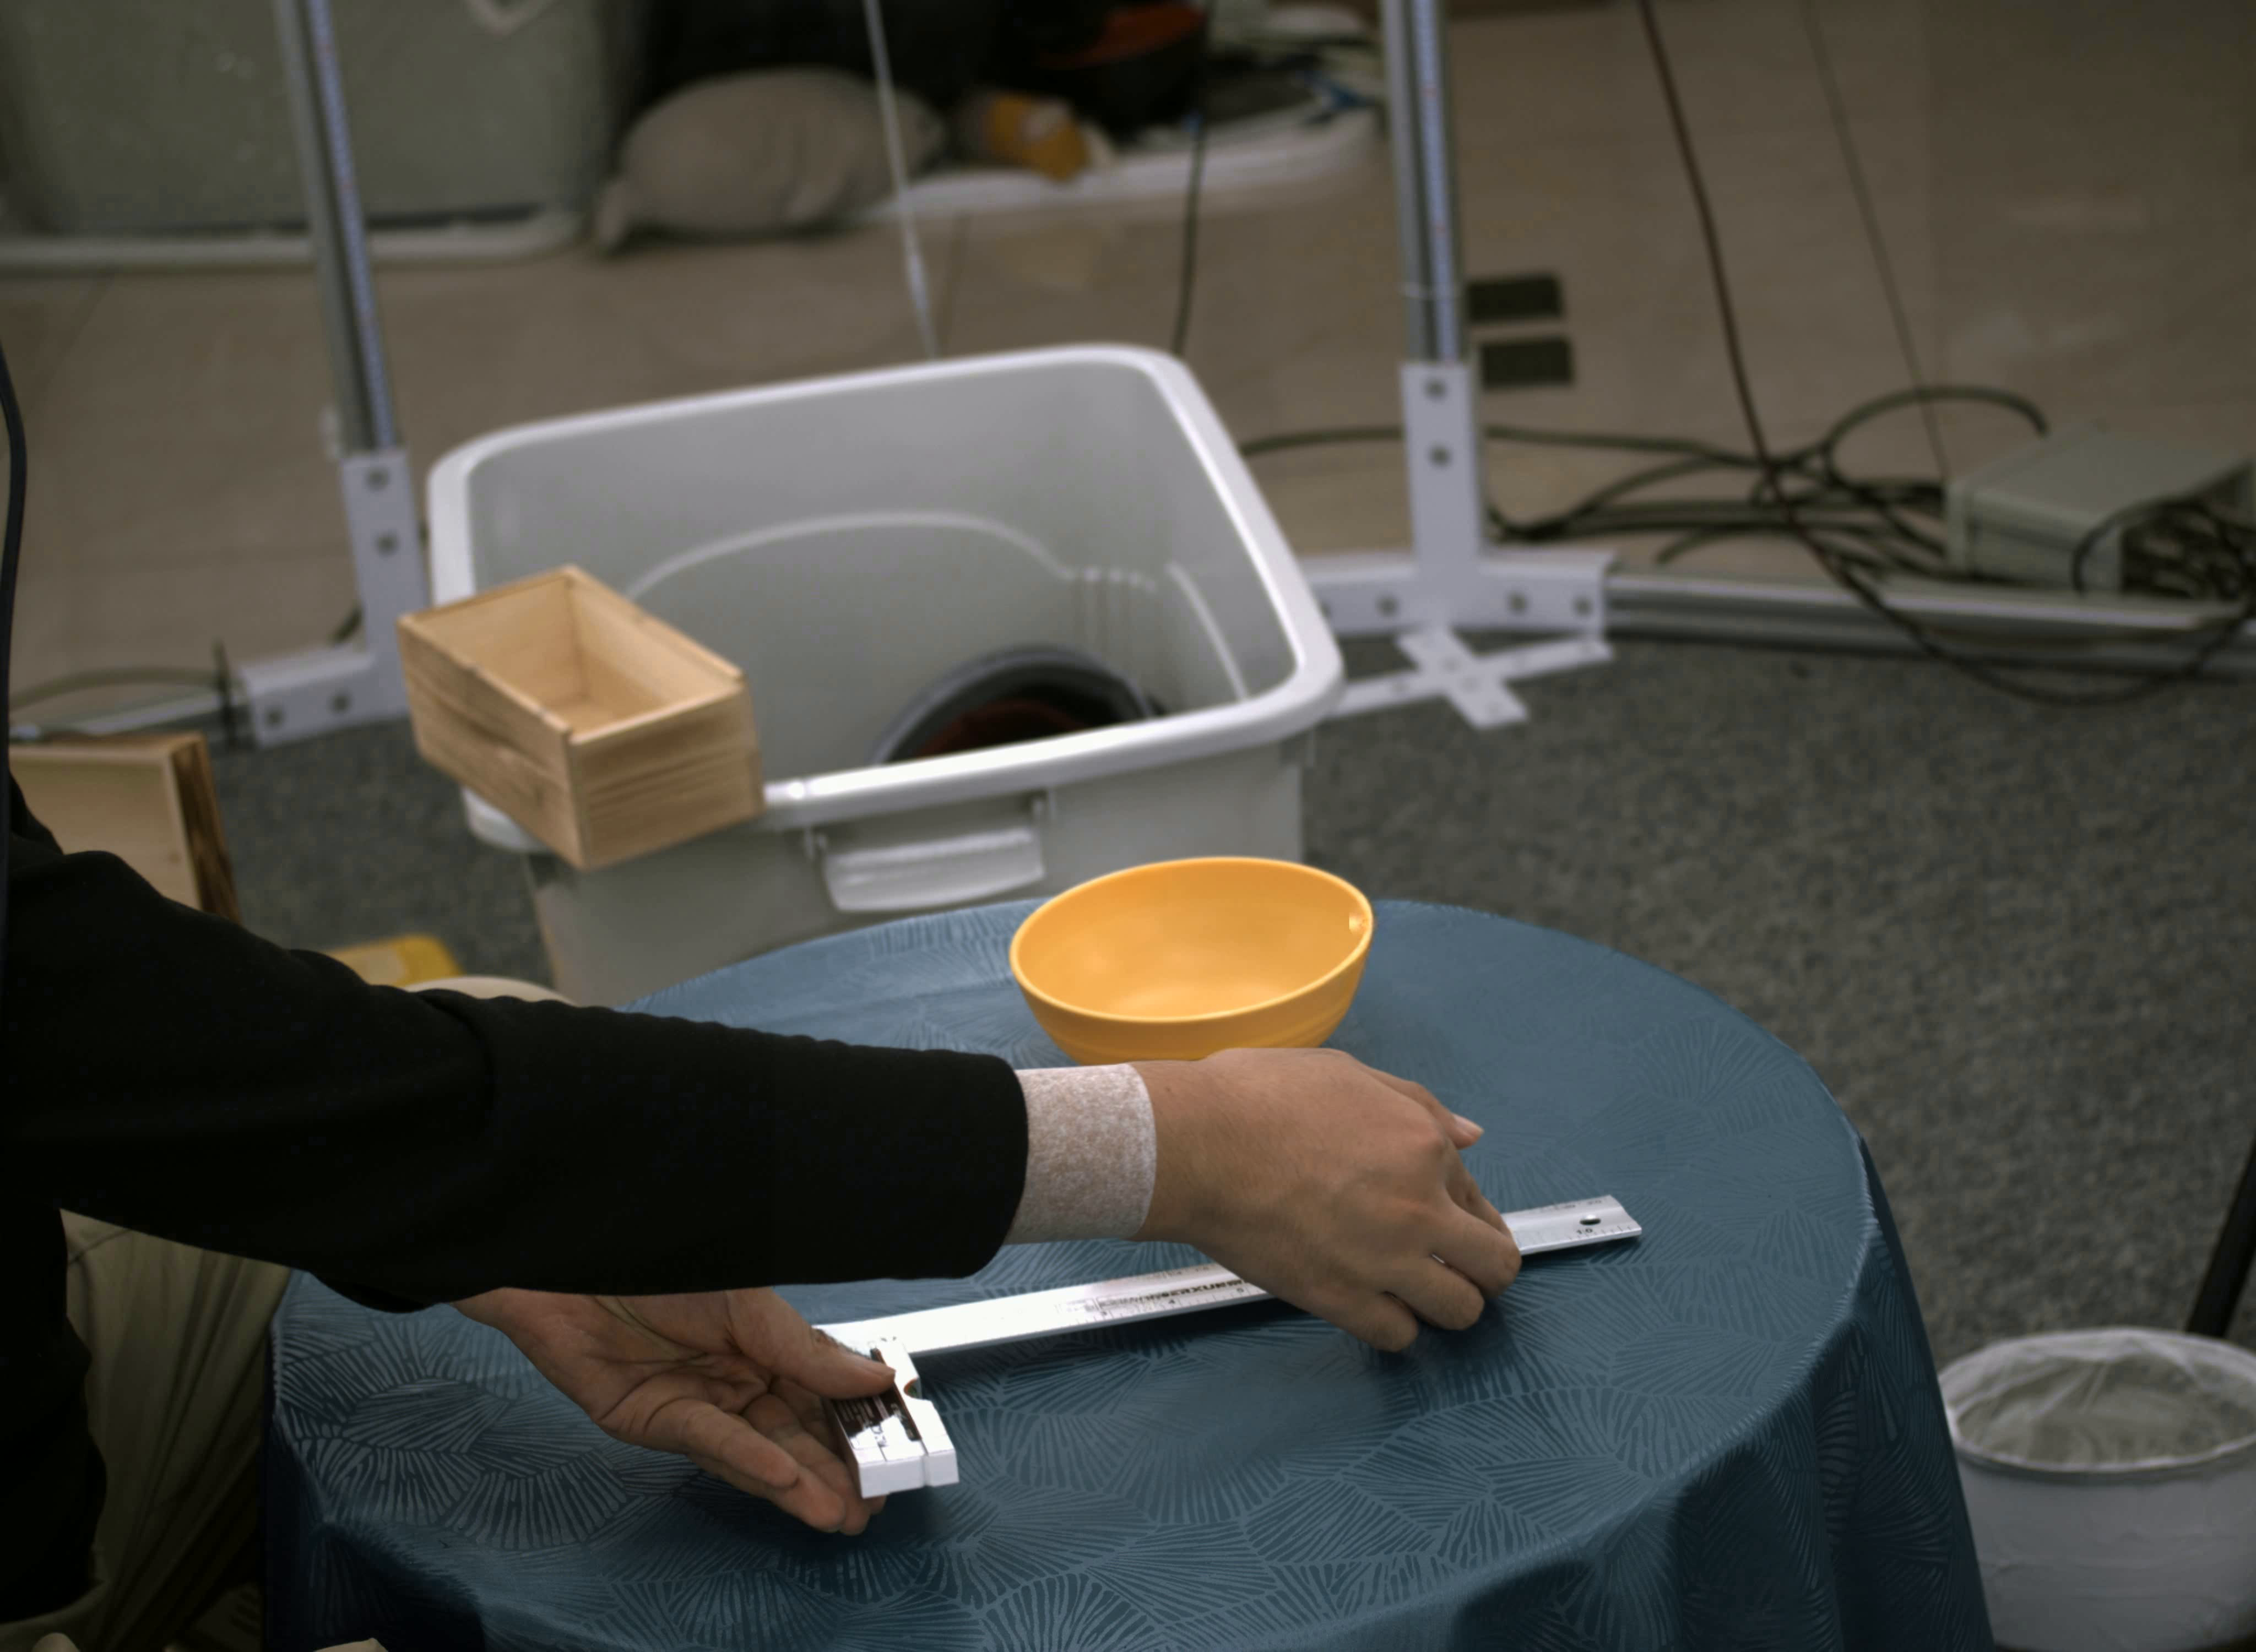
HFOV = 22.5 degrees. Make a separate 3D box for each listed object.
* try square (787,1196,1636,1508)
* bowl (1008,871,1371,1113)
[{"bbox_3d":[0.041,0.182,2.012,0.312,0.016,0.150,-8,19,-10],"label":"try square"},{"bbox_3d":[0.028,0.072,2.220,0.145,0.061,0.143,-8,23,3],"label":"bowl"}]
